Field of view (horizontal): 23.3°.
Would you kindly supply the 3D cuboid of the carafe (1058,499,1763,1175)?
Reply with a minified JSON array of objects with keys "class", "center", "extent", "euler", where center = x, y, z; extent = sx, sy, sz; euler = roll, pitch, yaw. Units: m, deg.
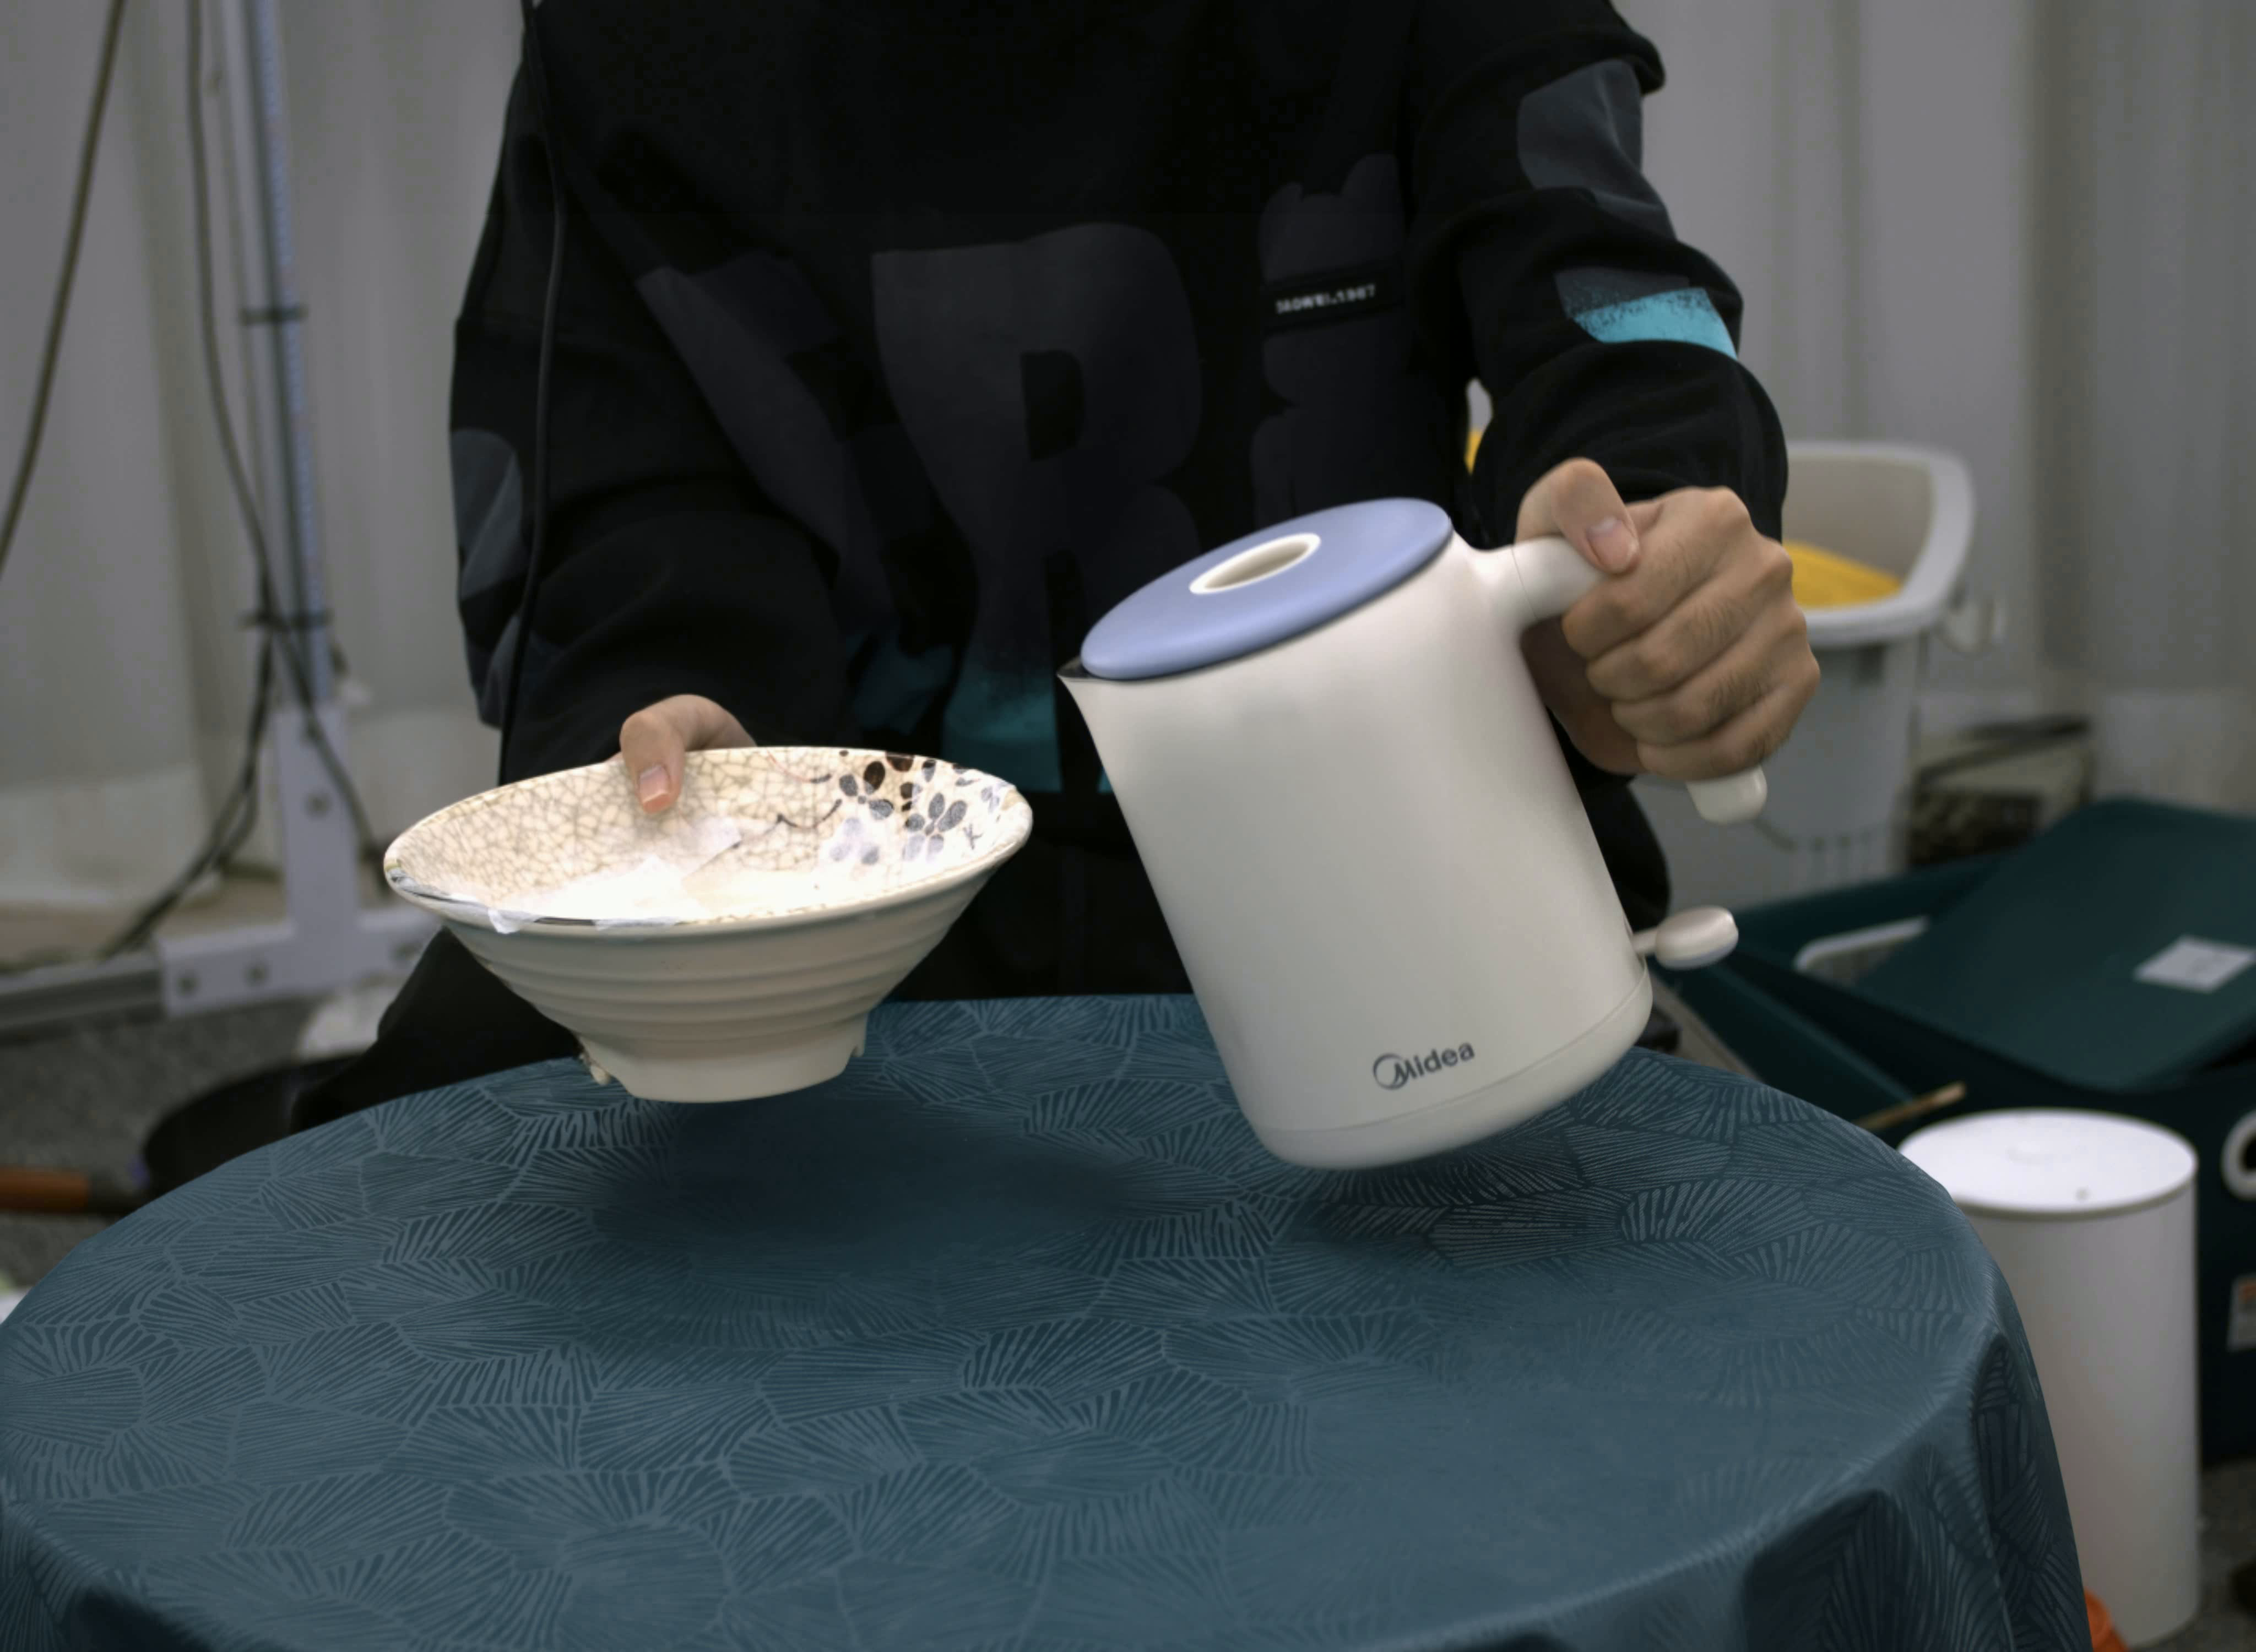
[{"class":"carafe","center":[0.093,-0.005,1.653],"extent":[0.190,0.181,0.133],"euler":[-17,15,7]}]

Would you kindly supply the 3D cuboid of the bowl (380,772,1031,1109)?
[{"class":"bowl","center":[-0.130,0.041,1.716],"extent":[0.203,0.078,0.205],"euler":[-2,12,0]}]
